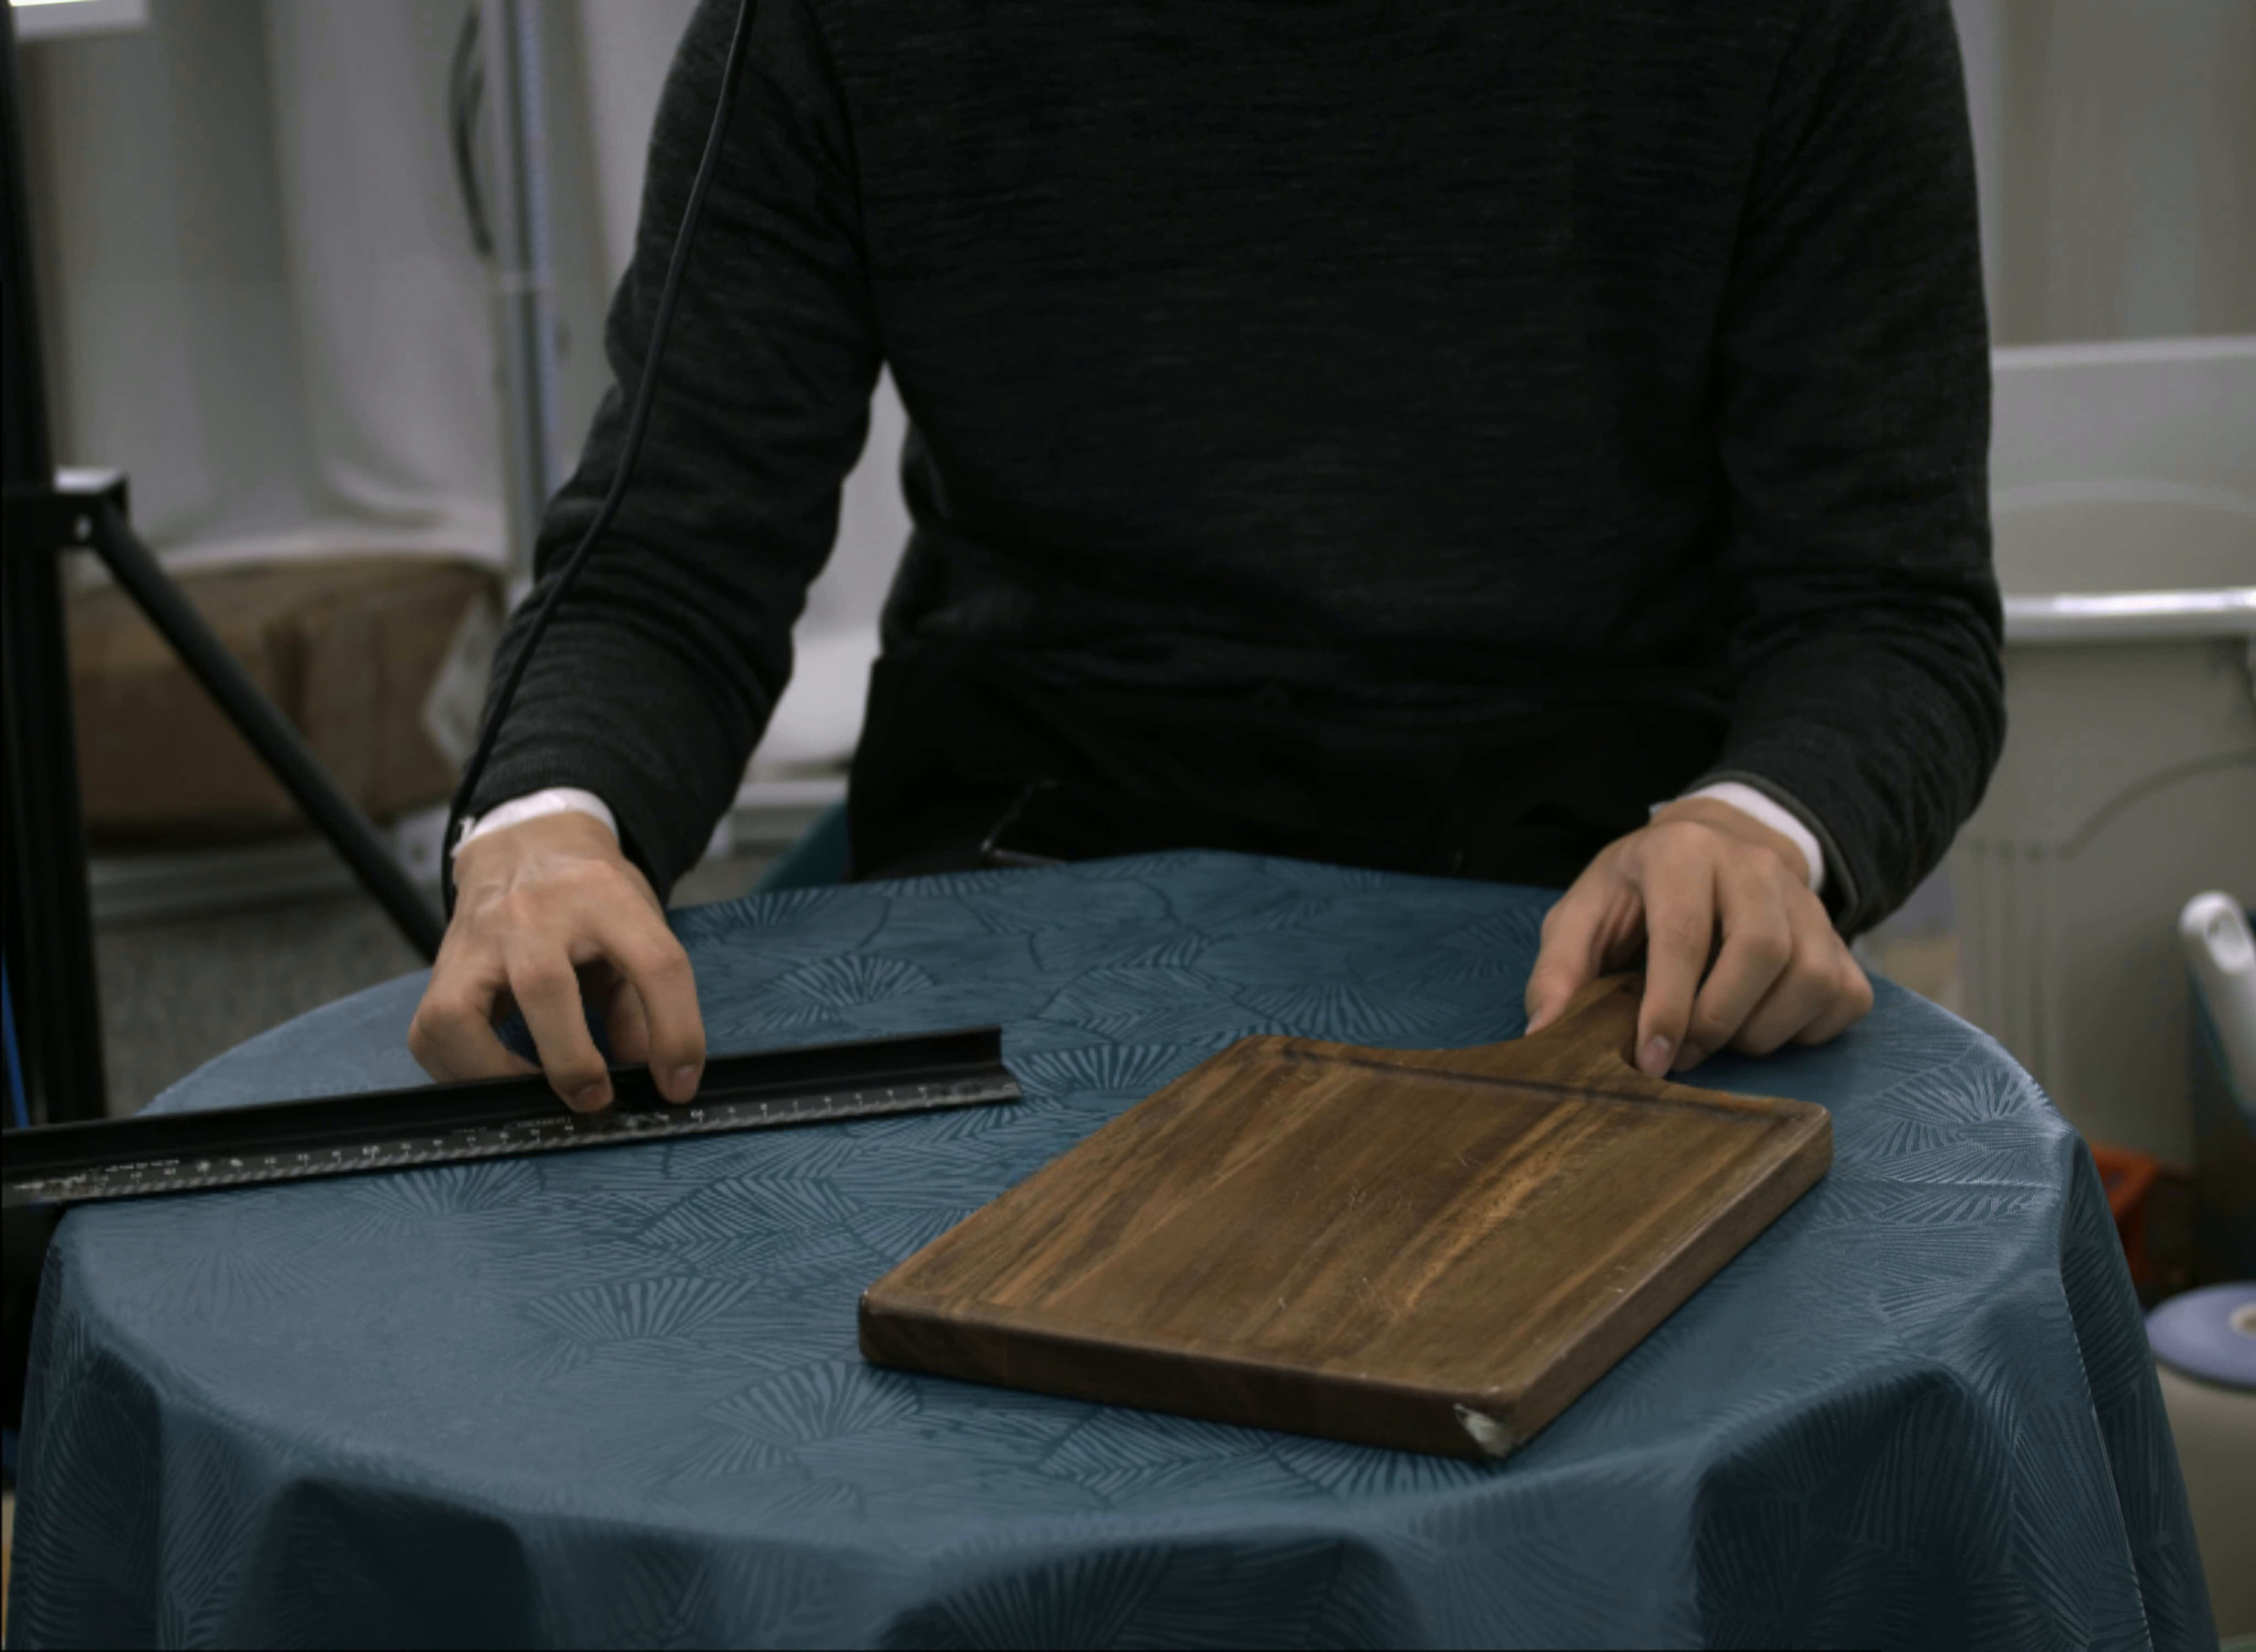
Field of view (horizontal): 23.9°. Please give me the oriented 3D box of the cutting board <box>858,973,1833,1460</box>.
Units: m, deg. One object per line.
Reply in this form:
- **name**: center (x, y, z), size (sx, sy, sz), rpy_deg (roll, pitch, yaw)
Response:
- **cutting board**: center (0.089, 0.101, 1.529), size (0.204, 0.023, 0.346), rpy_deg (6, 17, 27)

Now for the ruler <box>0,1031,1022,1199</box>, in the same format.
- **ruler**: center (-0.187, 0.088, 1.628), size (0.309, 0.017, 0.040), rpy_deg (-5, 16, -9)
